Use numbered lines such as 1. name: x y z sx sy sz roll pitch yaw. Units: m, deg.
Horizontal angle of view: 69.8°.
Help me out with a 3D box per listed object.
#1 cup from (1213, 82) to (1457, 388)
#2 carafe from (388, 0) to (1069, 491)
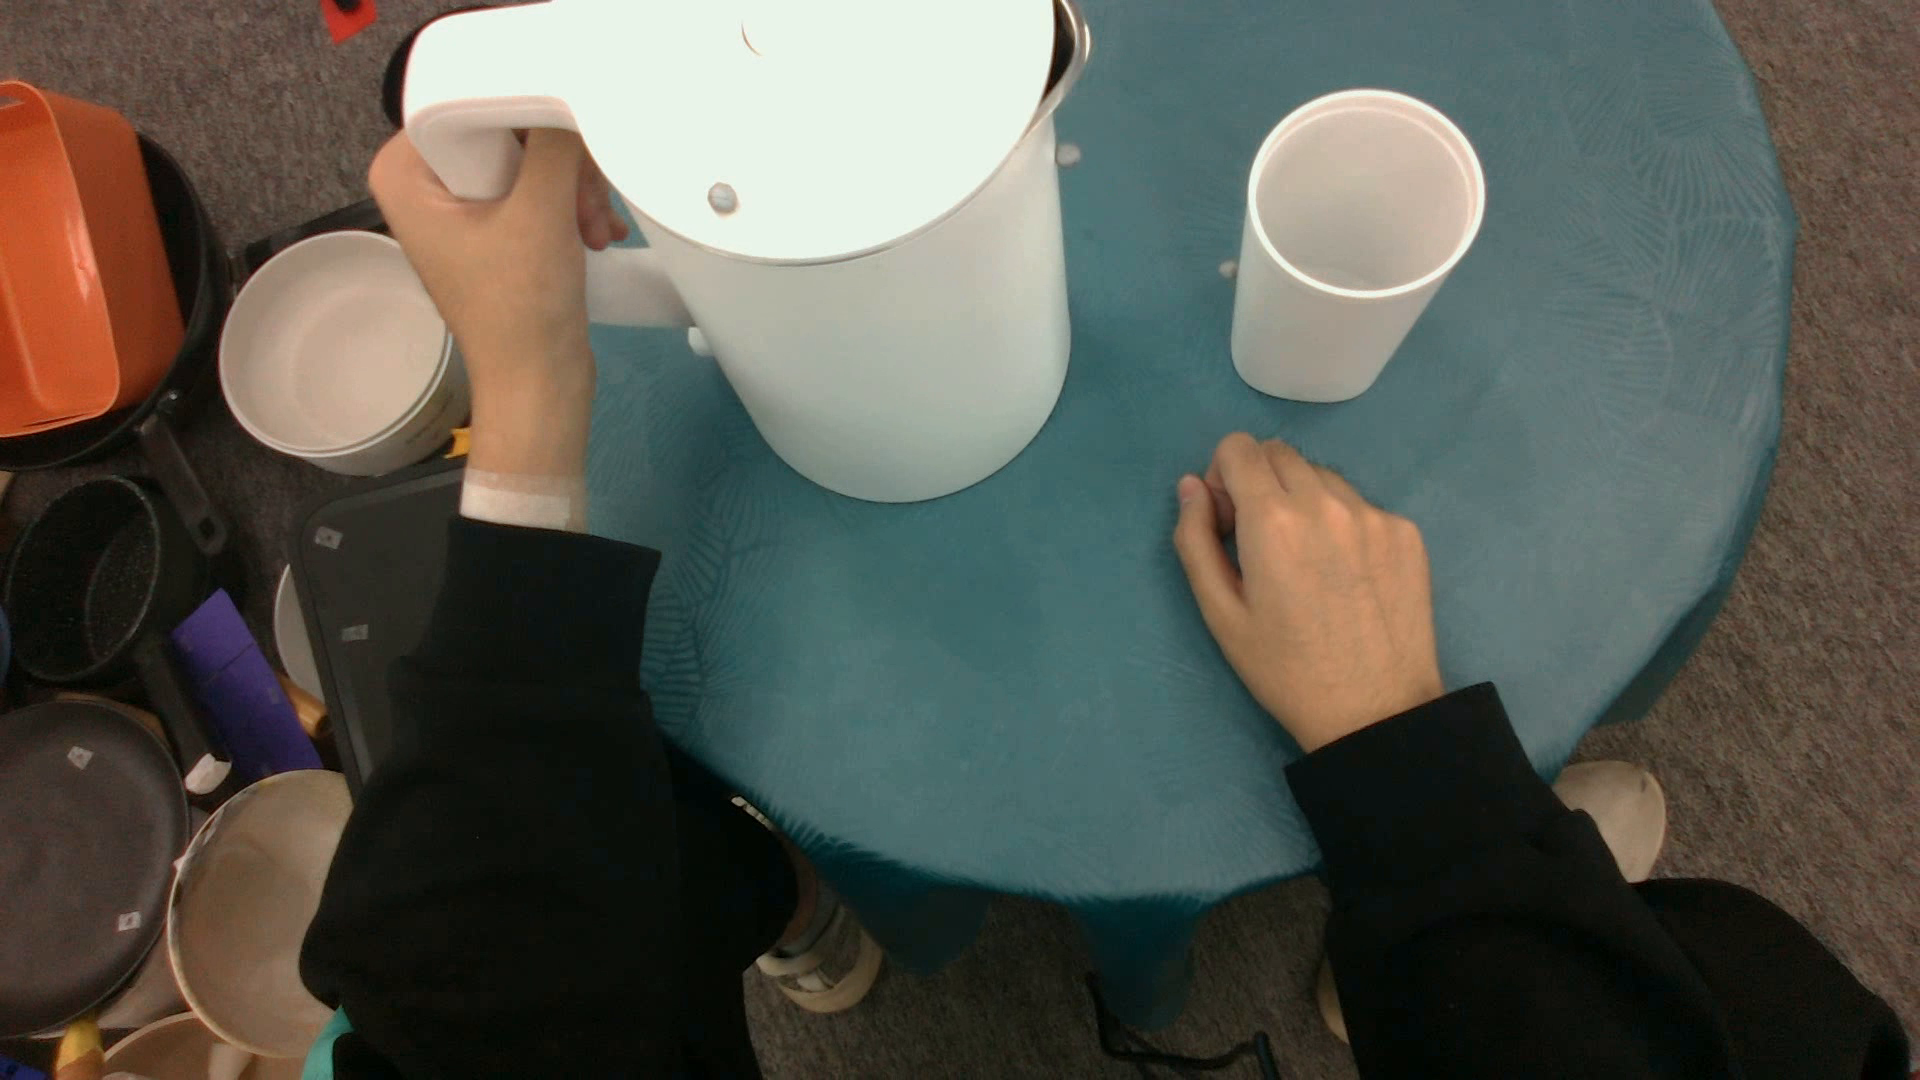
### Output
1. cup: 0.141 -0.114 0.552 0.081 0.125 0.082 -1 76 4
2. carafe: -0.068 -0.124 0.514 0.213 0.239 0.152 -1 74 3
